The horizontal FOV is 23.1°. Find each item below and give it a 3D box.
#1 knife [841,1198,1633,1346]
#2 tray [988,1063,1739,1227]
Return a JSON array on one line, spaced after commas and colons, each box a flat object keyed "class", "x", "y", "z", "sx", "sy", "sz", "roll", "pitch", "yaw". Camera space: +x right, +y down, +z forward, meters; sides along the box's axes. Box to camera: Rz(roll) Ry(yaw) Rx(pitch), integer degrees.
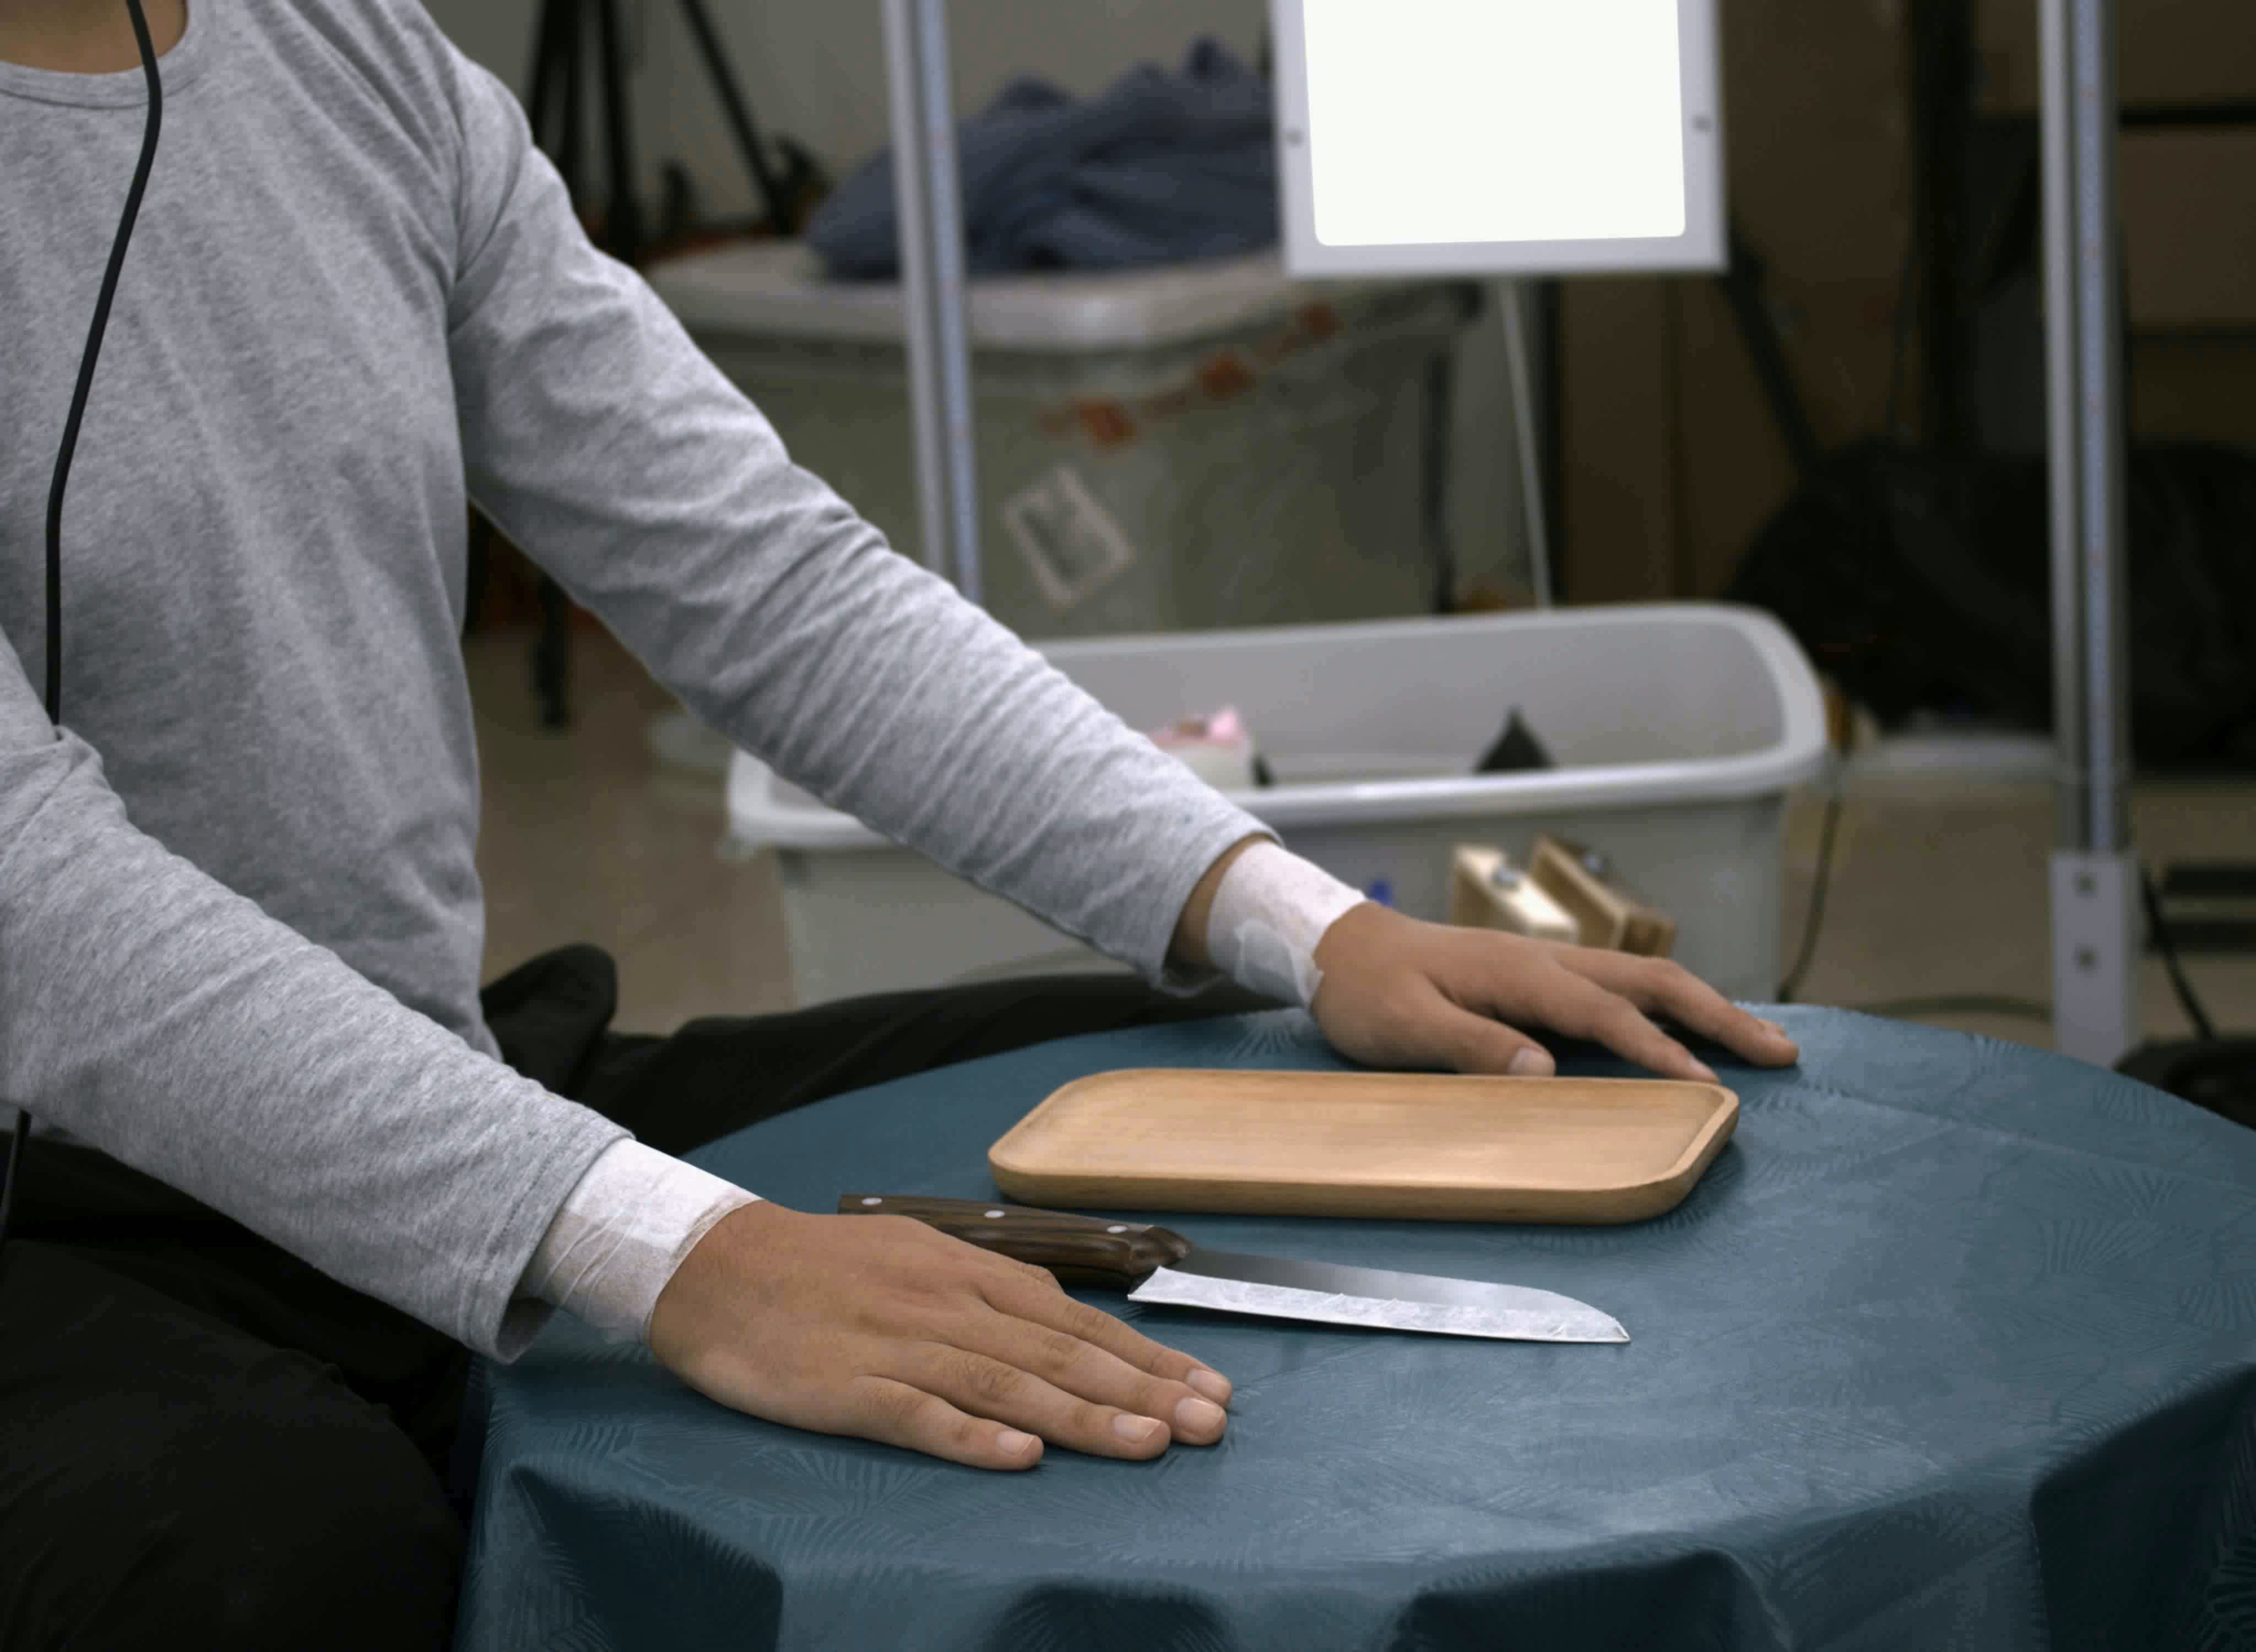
[{"class": "knife", "x": 0.031, "y": 0.146, "z": 1.781, "sx": 0.294, "sy": 0.020, "sz": 0.049, "roll": 5, "pitch": 22, "yaw": 29}, {"class": "tray", "x": 0.082, "y": 0.110, "z": 1.908, "sx": 0.254, "sy": 0.023, "sz": 0.128, "roll": 0, "pitch": 12, "yaw": 23}]
